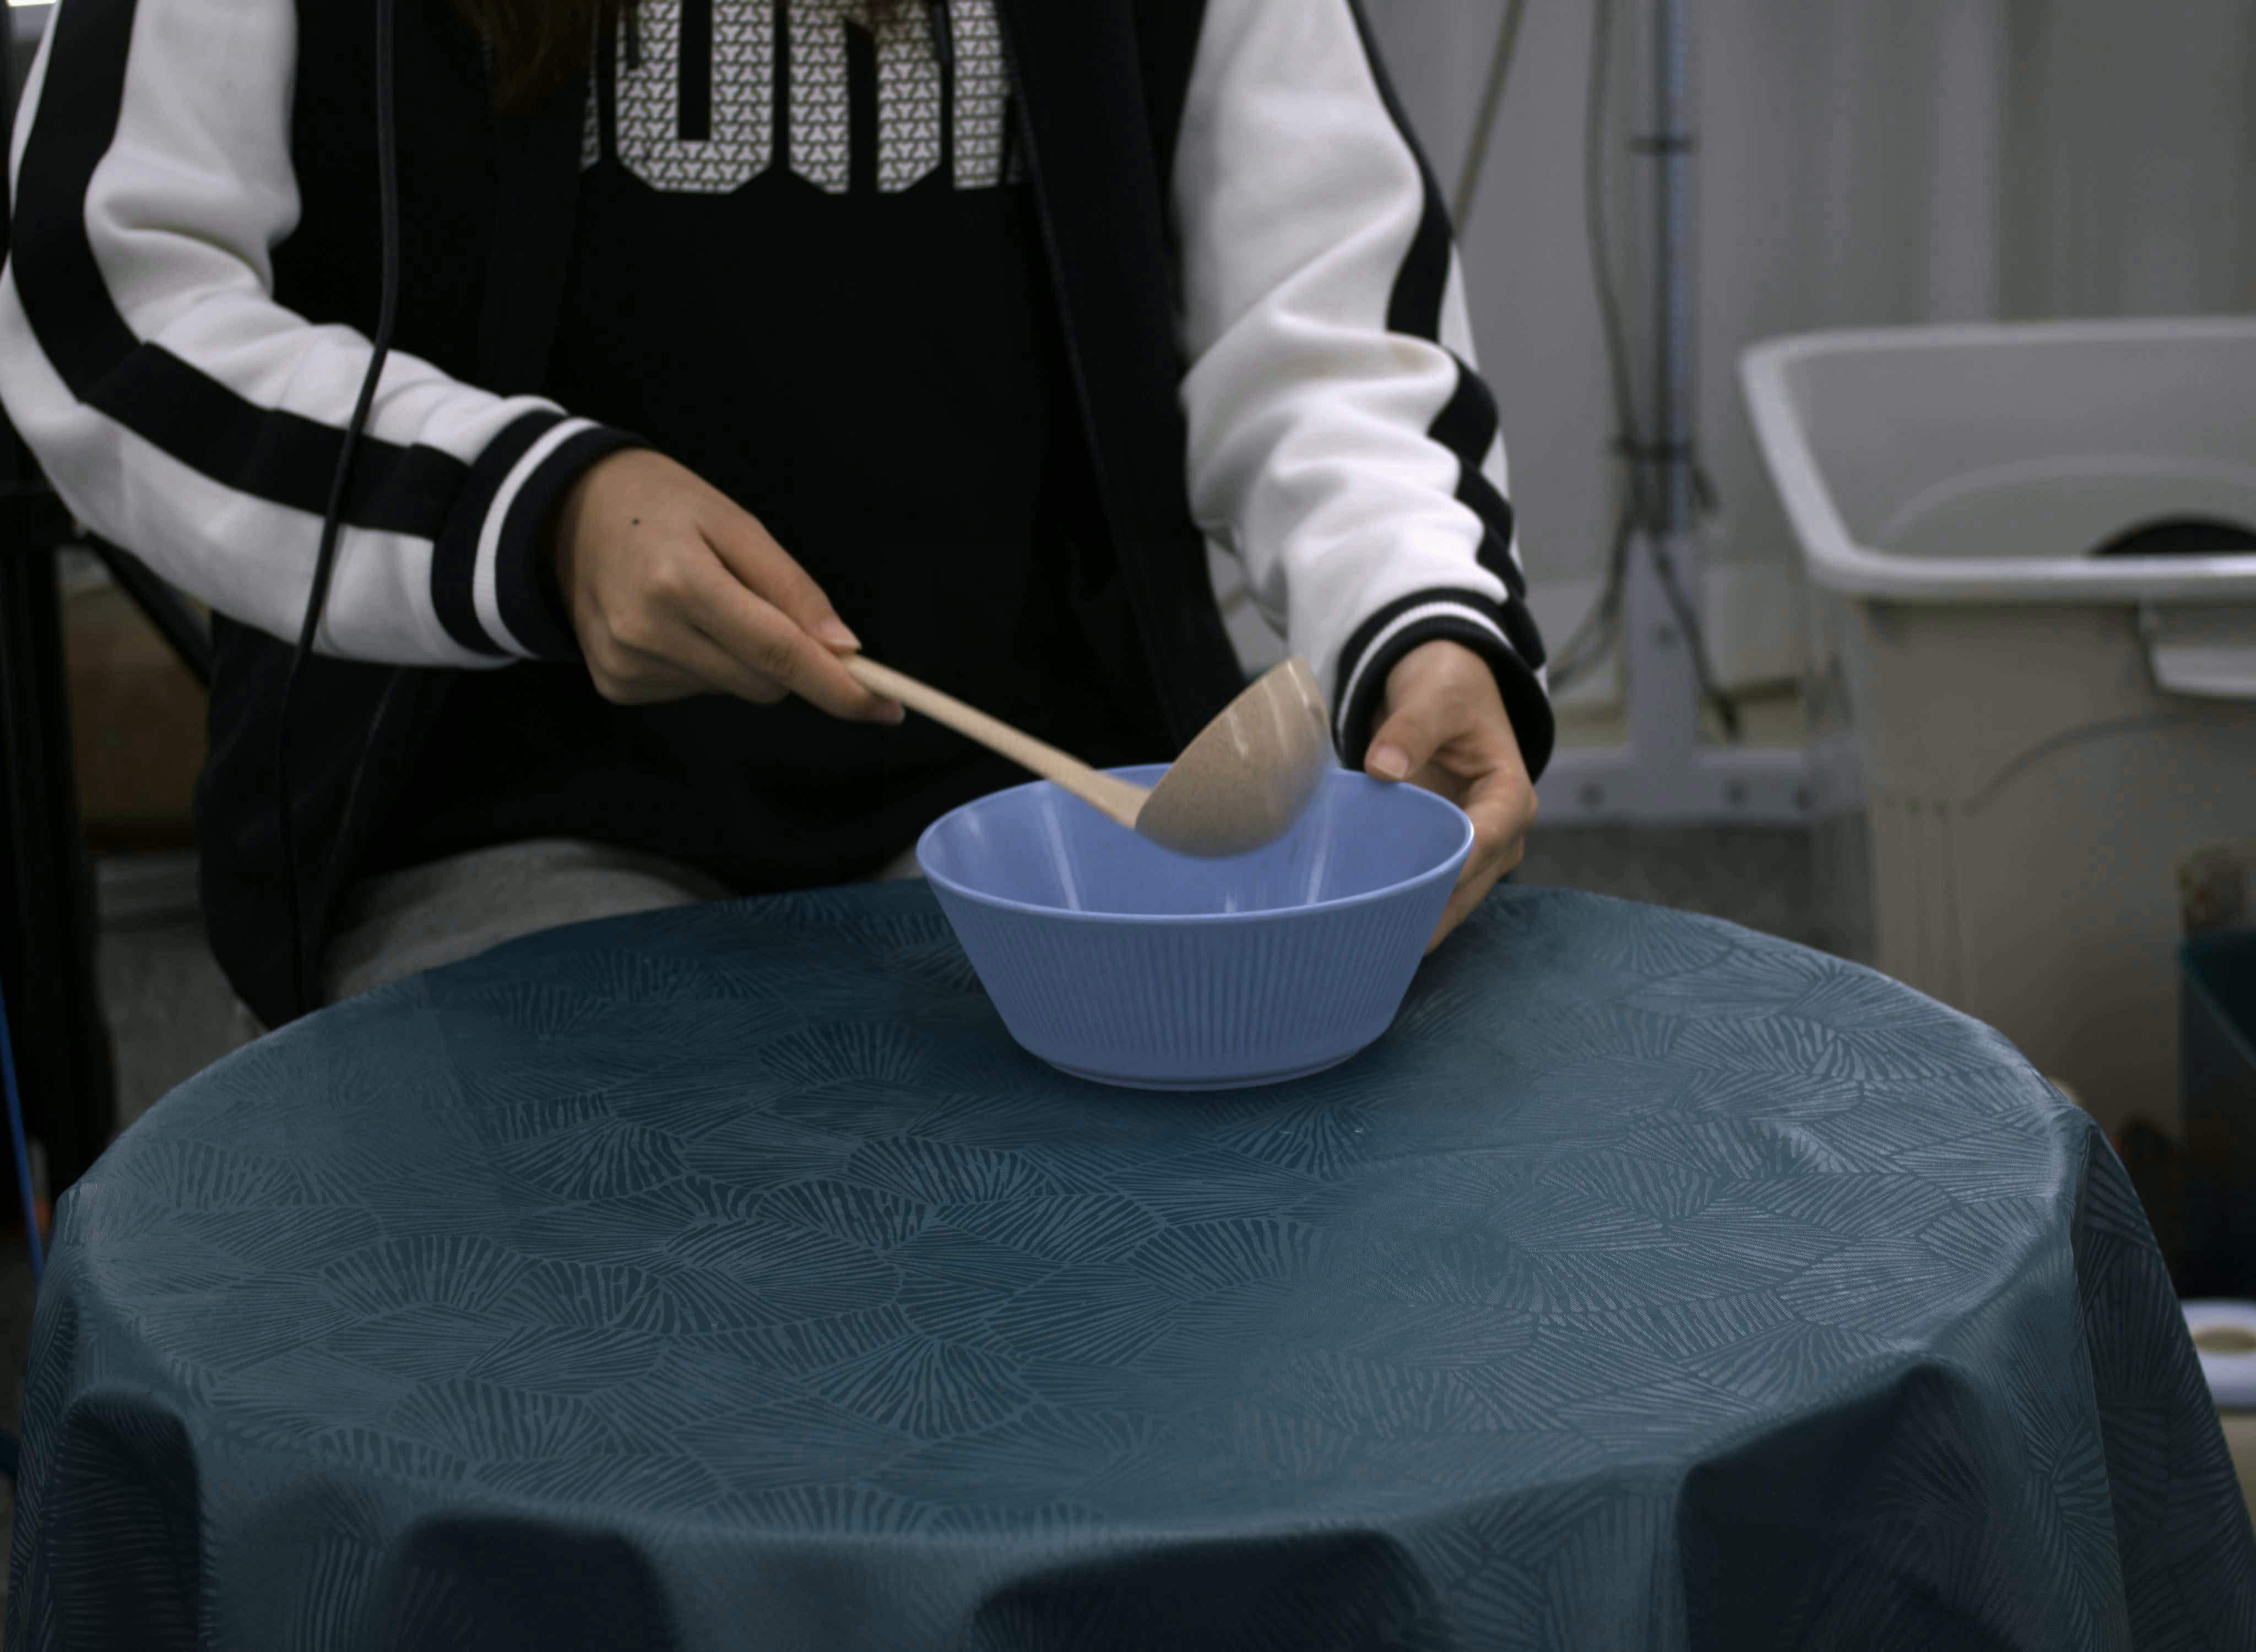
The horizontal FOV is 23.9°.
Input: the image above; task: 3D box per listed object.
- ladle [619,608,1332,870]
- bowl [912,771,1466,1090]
[{"bbox_3d":[-0.053,-0.056,1.697,0.258,0.073,0.071,23,28,25],"label":"ladle"},{"bbox_3d":[0.020,0.035,1.685,0.175,0.070,0.177,-2,16,-1],"label":"bowl"}]
